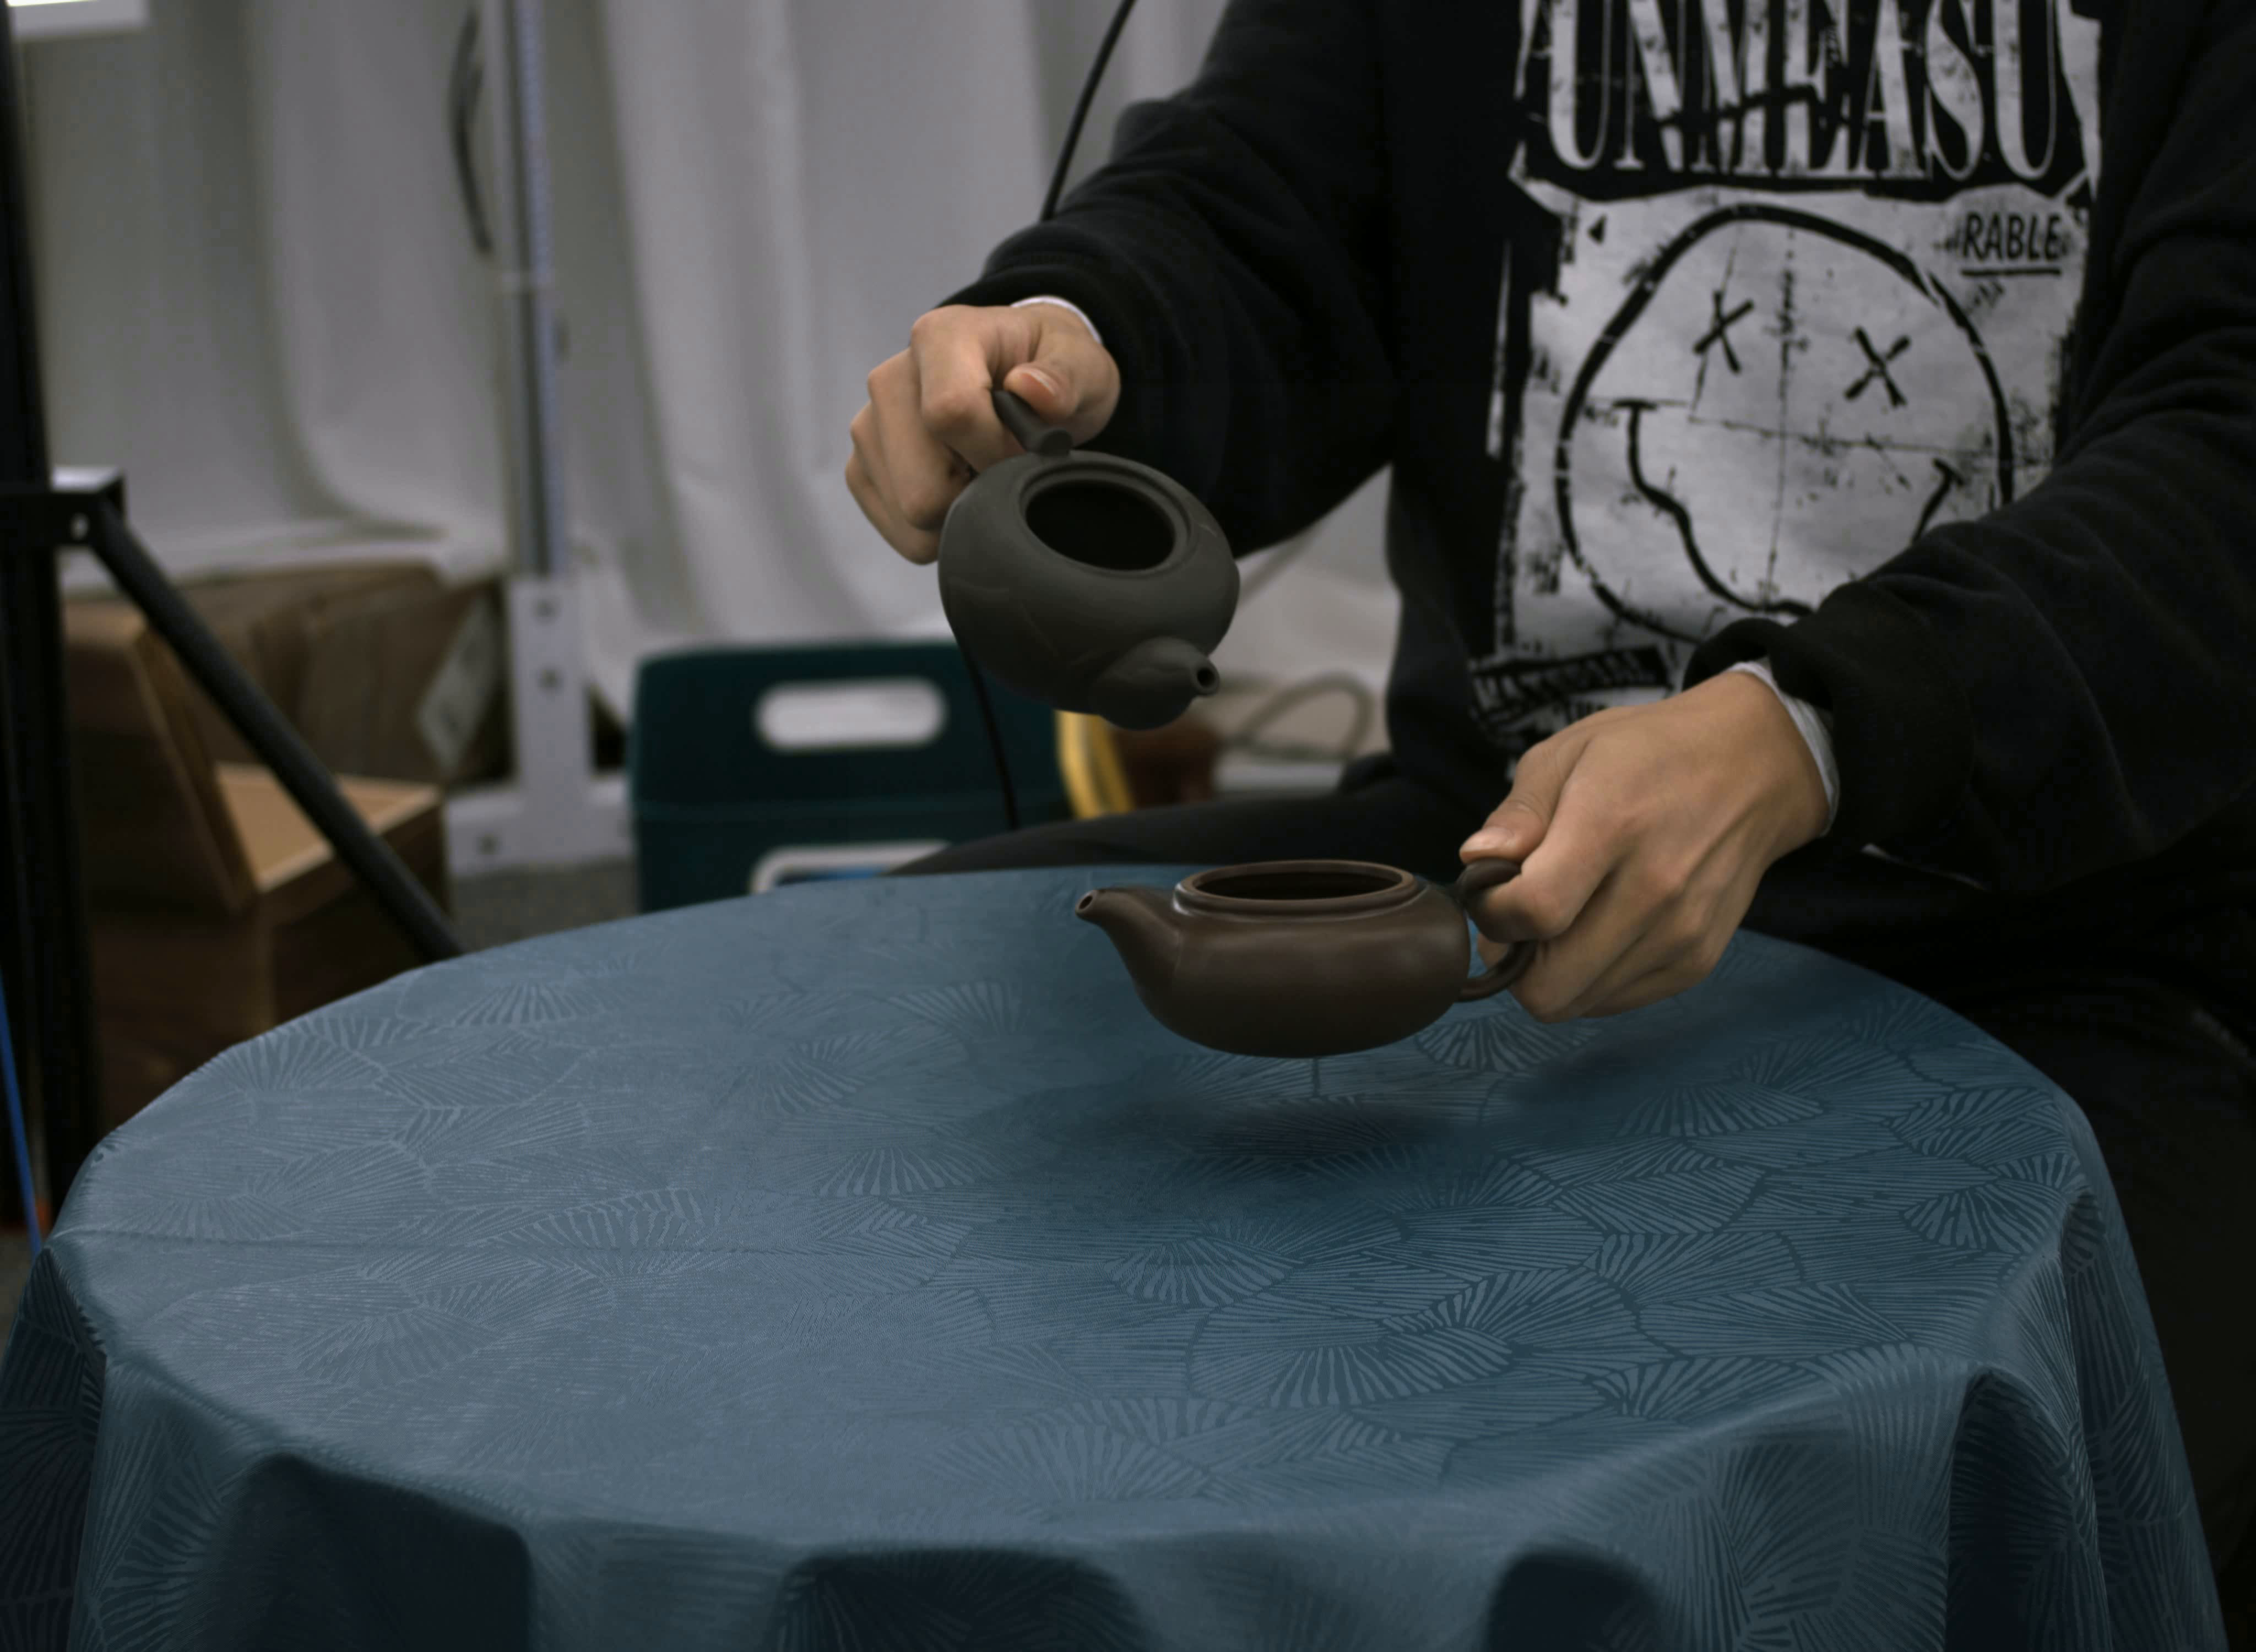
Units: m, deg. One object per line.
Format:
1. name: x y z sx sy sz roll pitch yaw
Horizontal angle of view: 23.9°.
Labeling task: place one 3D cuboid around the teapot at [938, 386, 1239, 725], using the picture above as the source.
1. teapot: -0.014 -0.078 1.624 0.090 0.064 0.157 -5 42 -29

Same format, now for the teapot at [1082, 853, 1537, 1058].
1. teapot: 0.056 0.036 1.585 0.150 0.054 0.105 -8 14 -28
